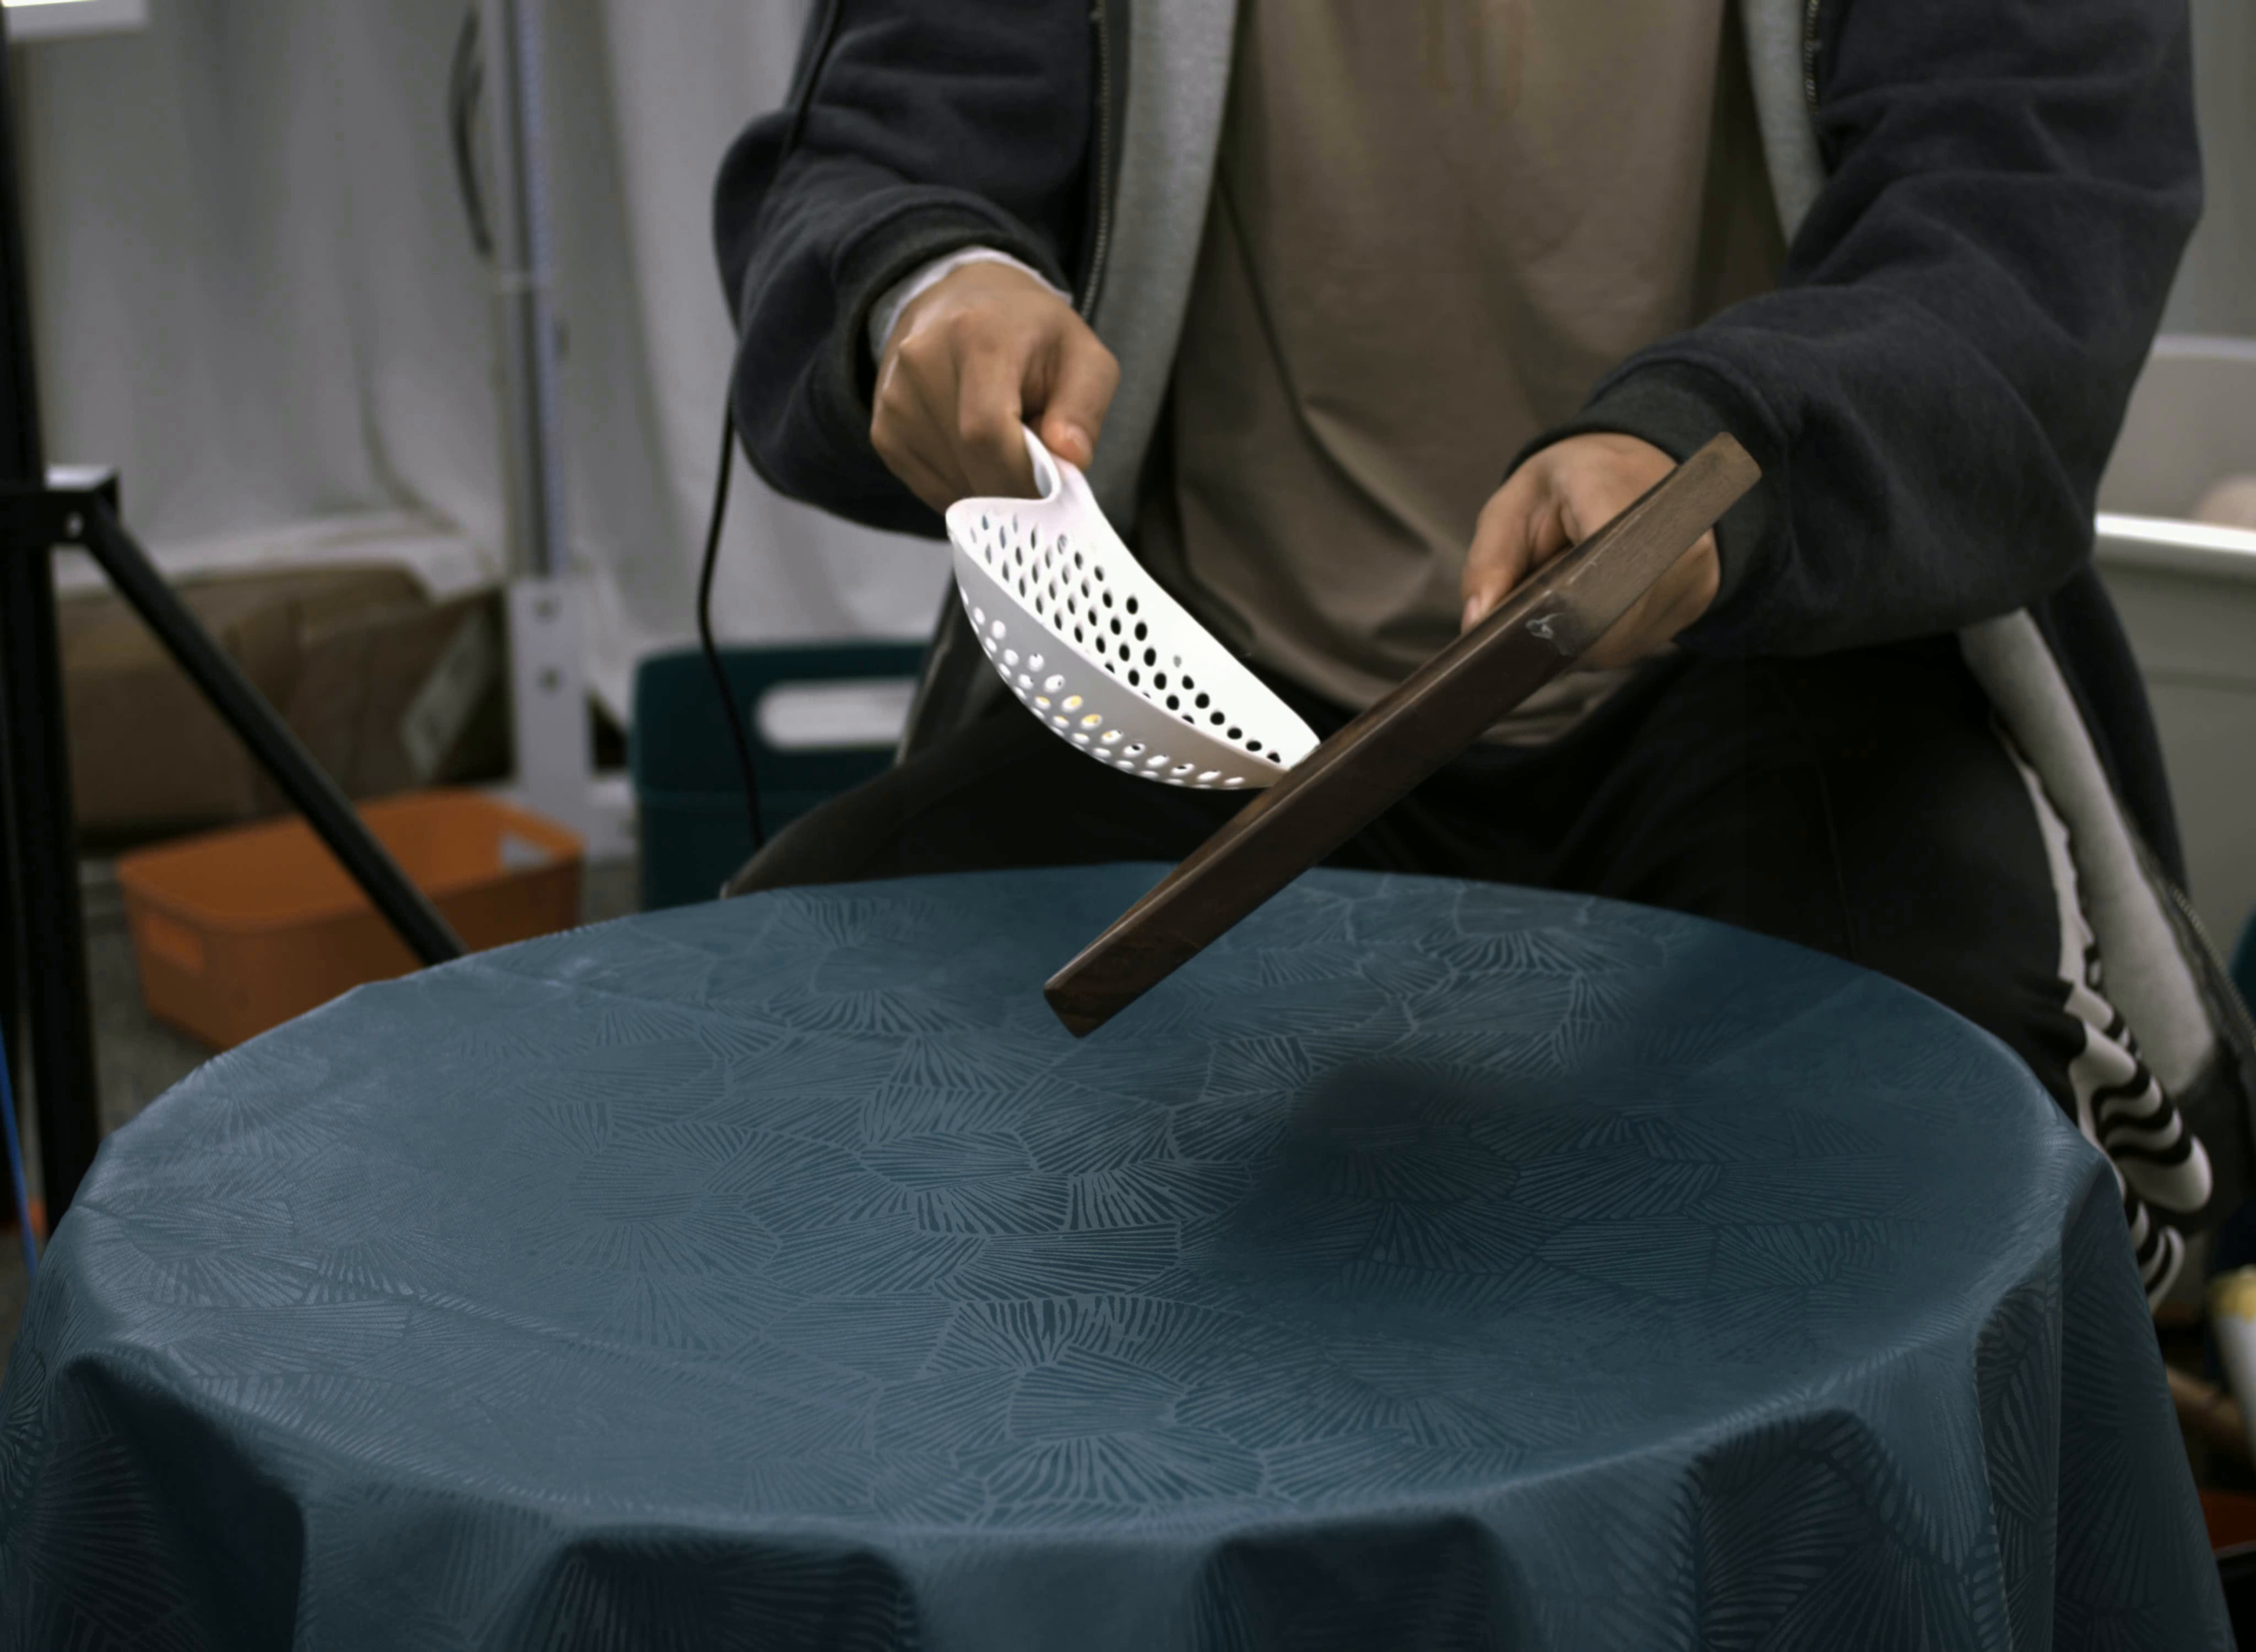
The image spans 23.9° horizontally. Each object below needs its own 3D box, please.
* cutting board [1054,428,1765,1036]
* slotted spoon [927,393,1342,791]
[{"bbox_3d":[0.100,-0.043,1.596,0.203,0.023,0.349,-37,2,22],"label":"cutting board"},{"bbox_3d":[-0.021,-0.088,1.683,0.134,0.050,0.352,30,17,-19],"label":"slotted spoon"}]
